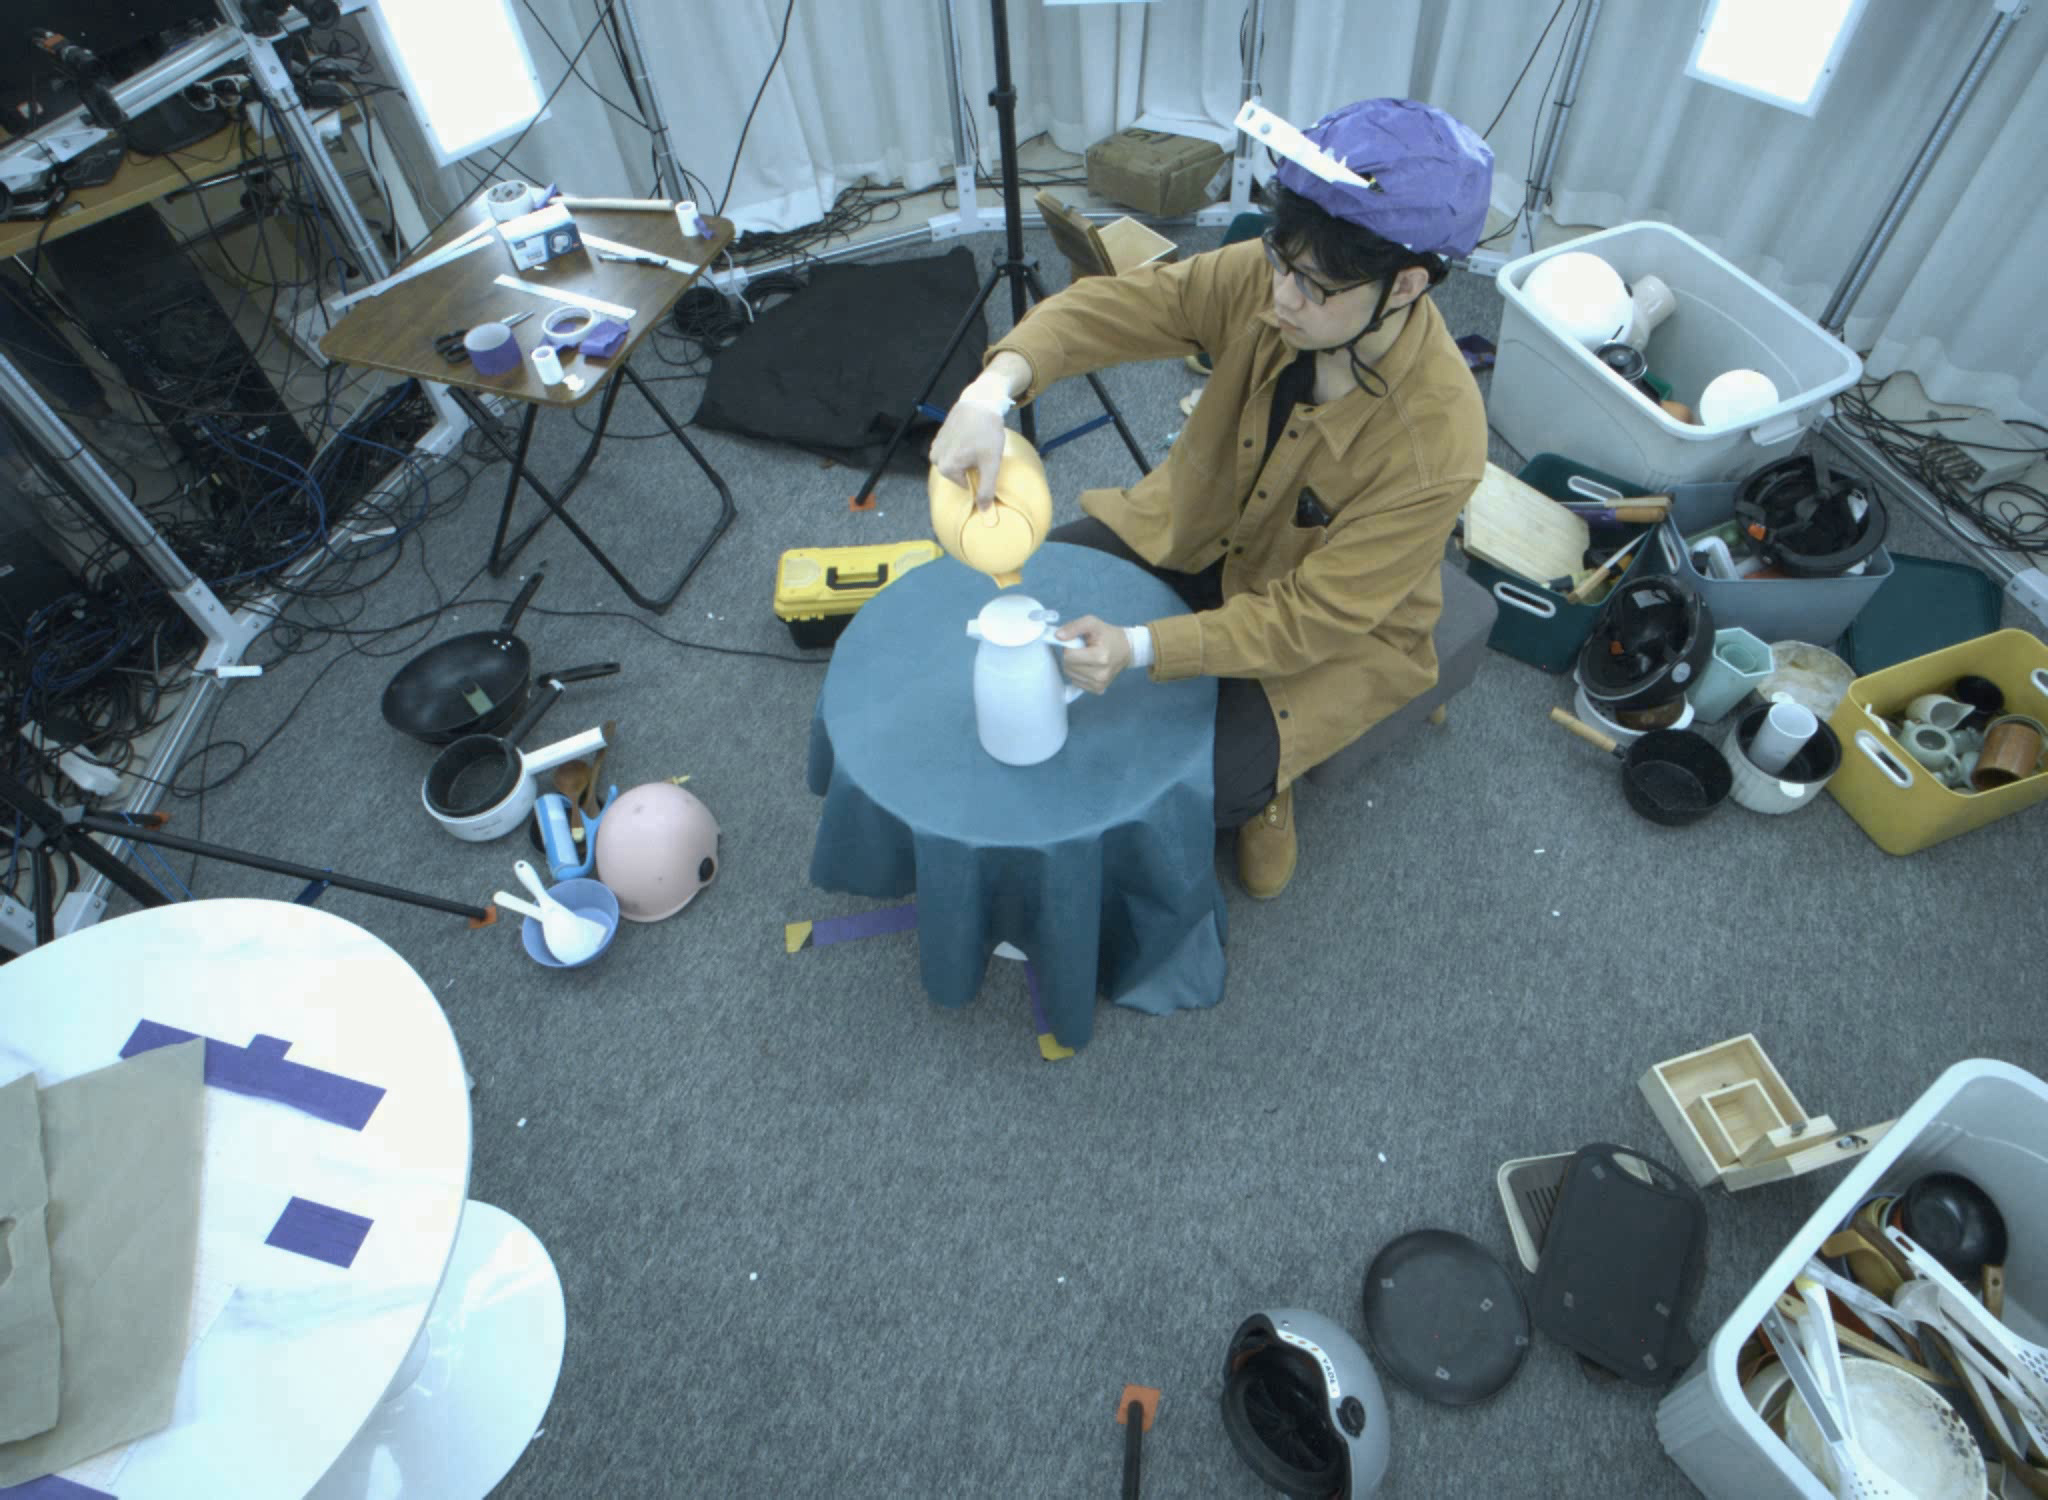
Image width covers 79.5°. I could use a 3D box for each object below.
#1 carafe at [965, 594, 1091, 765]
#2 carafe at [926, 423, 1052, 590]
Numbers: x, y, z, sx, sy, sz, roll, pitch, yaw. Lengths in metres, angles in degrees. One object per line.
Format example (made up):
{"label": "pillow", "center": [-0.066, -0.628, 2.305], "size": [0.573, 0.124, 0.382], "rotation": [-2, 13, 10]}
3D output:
{"label": "carafe", "center": [0.010, -0.103, 1.703], "size": [0.167, 0.251, 0.131], "rotation": [1, 54, 4]}
{"label": "carafe", "center": [-0.049, -0.337, 1.599], "size": [0.163, 0.205, 0.256], "rotation": [-14, 34, 0]}
